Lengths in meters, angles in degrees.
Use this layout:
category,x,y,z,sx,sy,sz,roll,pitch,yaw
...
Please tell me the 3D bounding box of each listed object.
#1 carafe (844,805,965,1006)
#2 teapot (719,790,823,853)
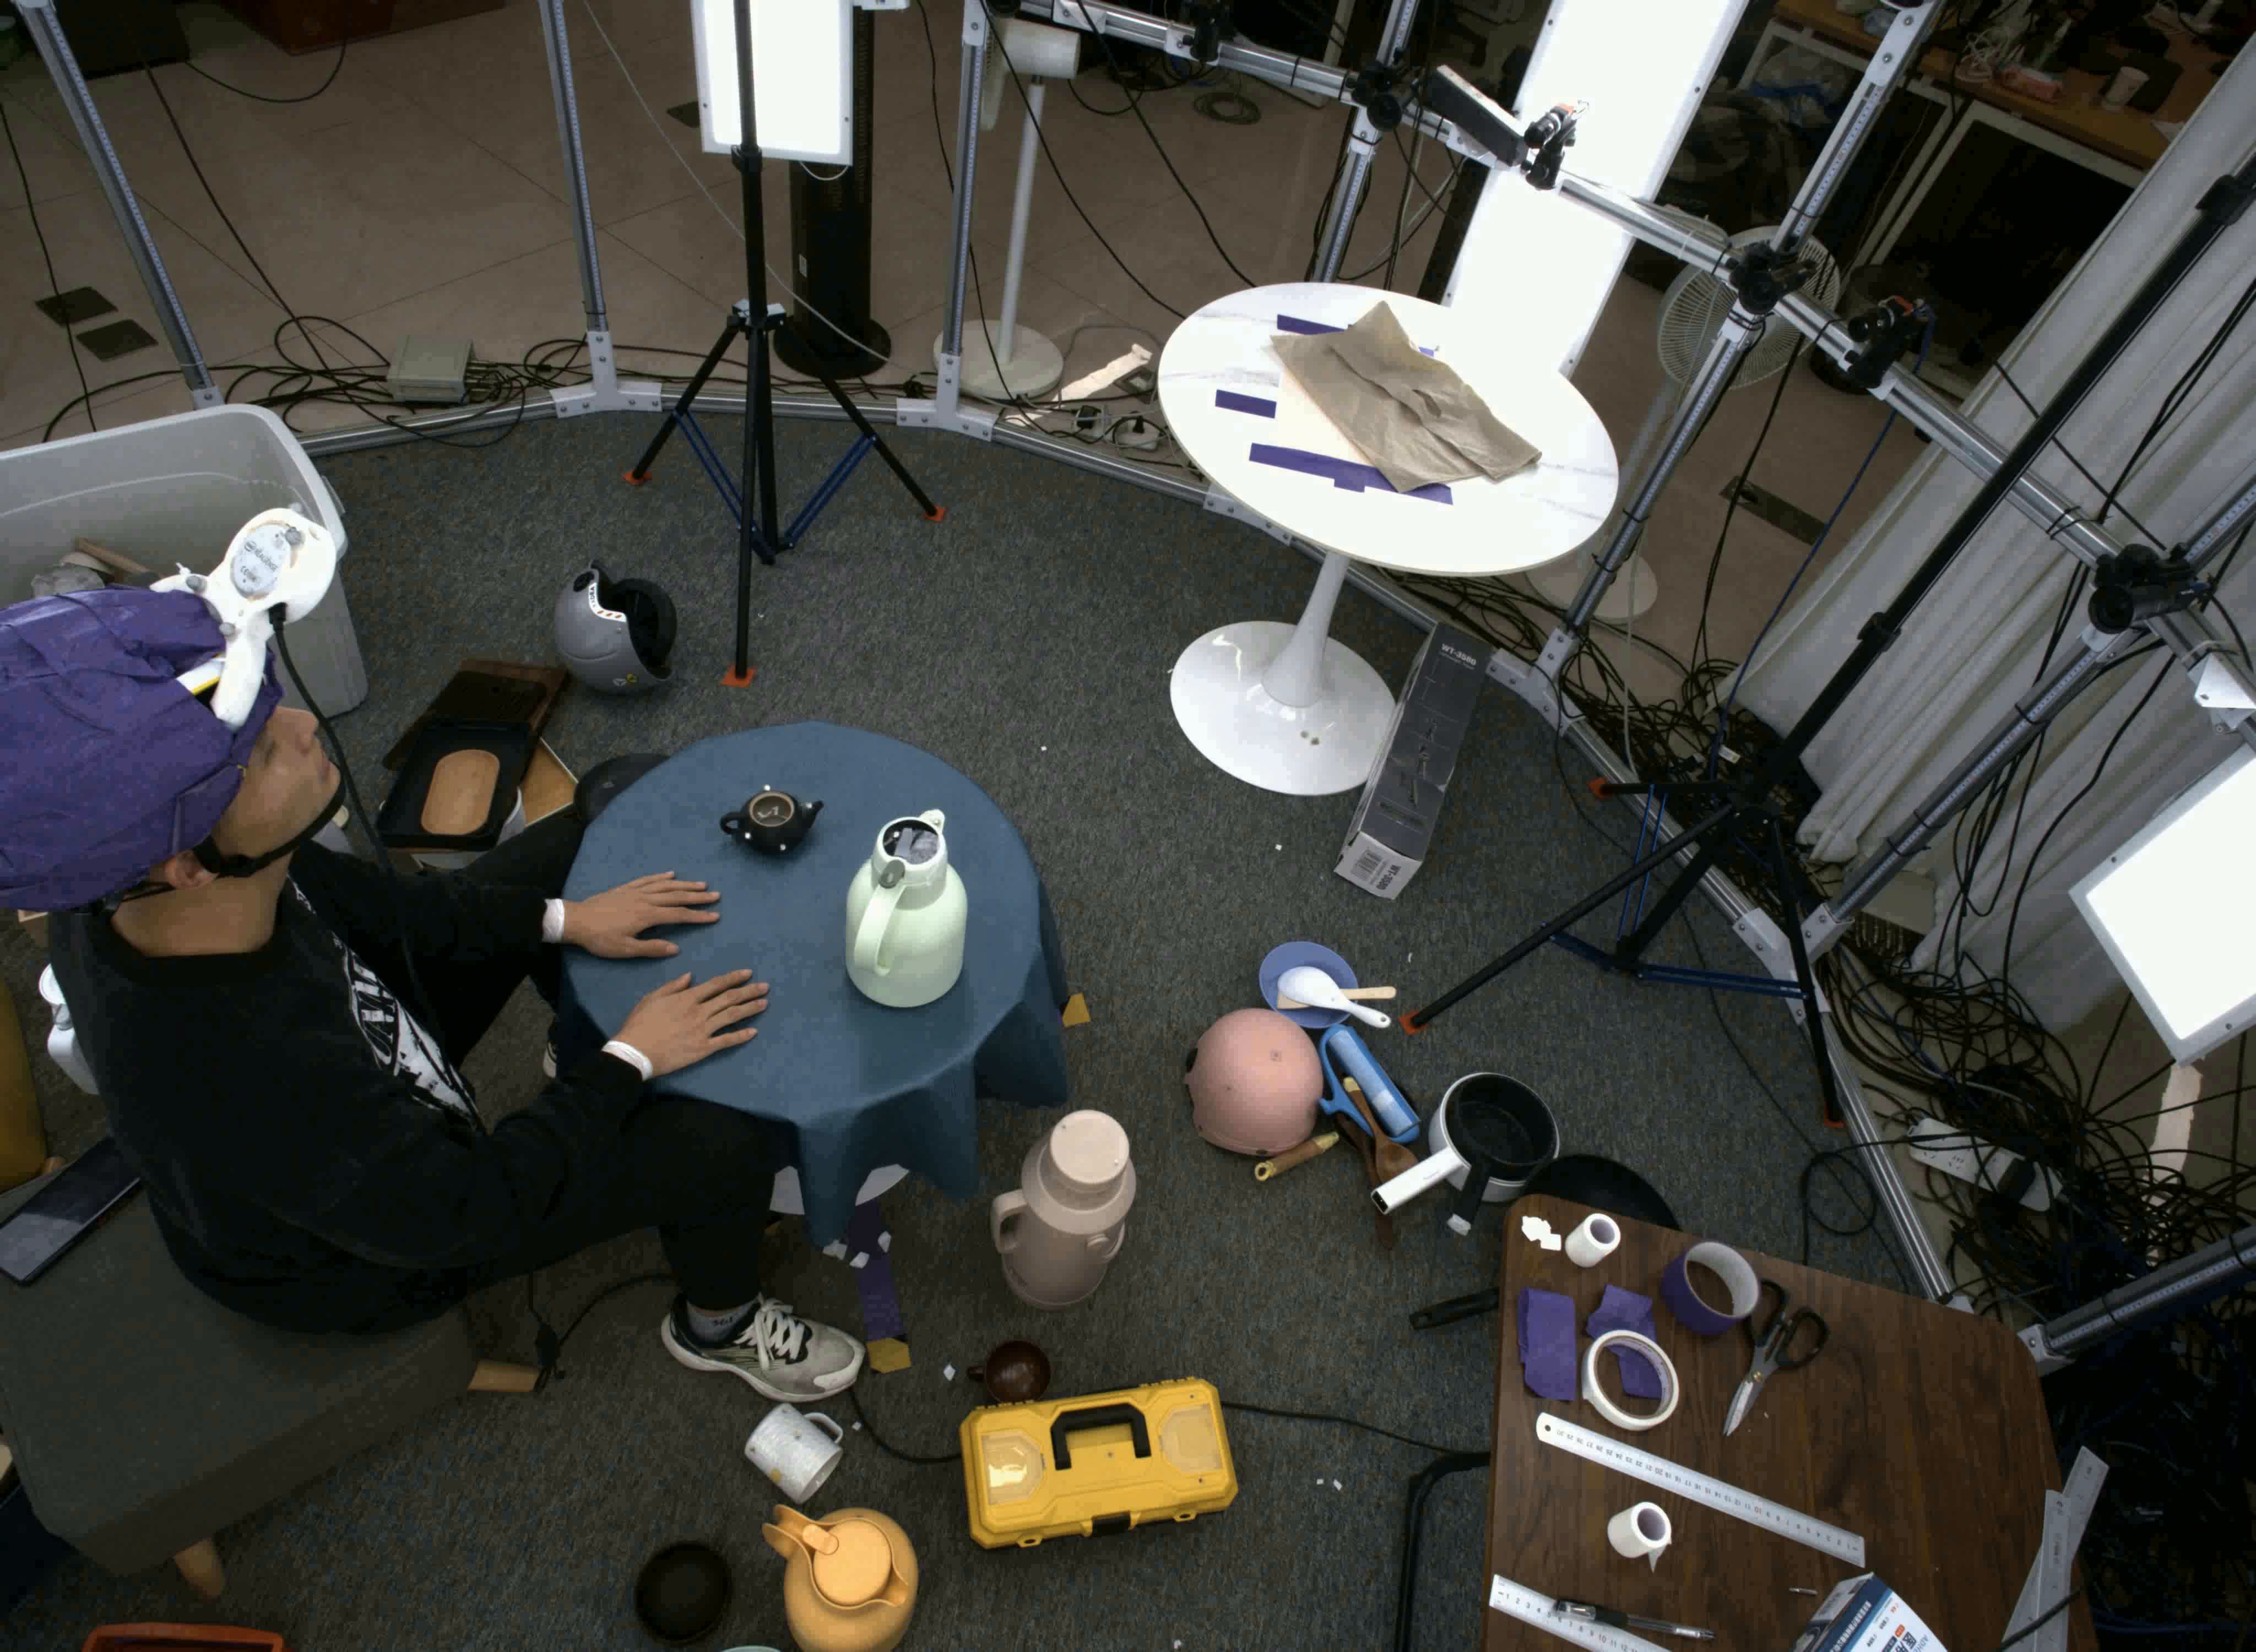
category,x,y,z,sx,sy,sz,roll,pitch,yaw
carafe,-0.267,0.101,1.525,0.143,0.262,0.185,21,54,3
teapot,-0.463,-0.008,1.682,0.134,0.054,0.088,-8,54,-20
